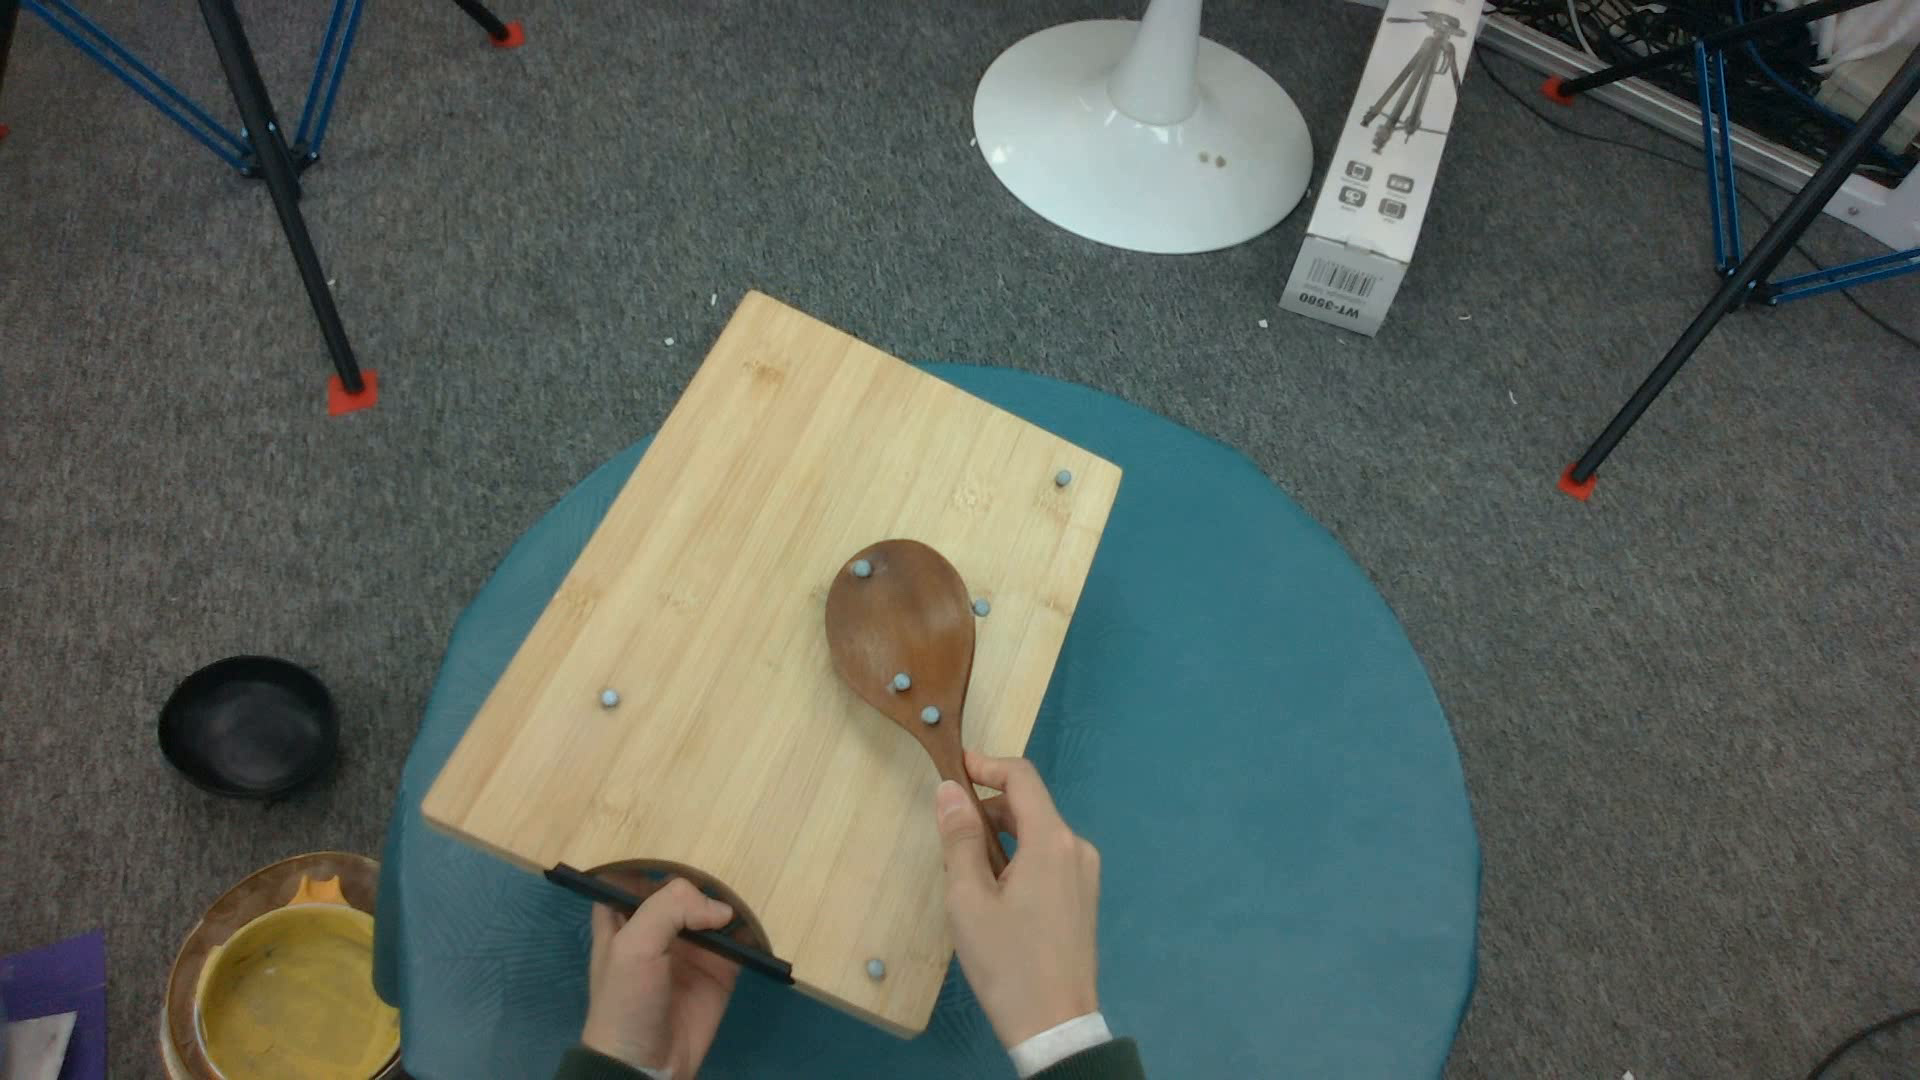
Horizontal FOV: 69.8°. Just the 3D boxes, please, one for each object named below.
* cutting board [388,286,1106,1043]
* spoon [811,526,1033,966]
[{"bbox_3d":[-0.081,0.041,0.699,0.251,0.023,0.350,24,55,-4],"label":"cutting board"},{"bbox_3d":[-0.012,0.089,0.633,0.075,0.017,0.216,-21,64,1],"label":"spoon"}]
